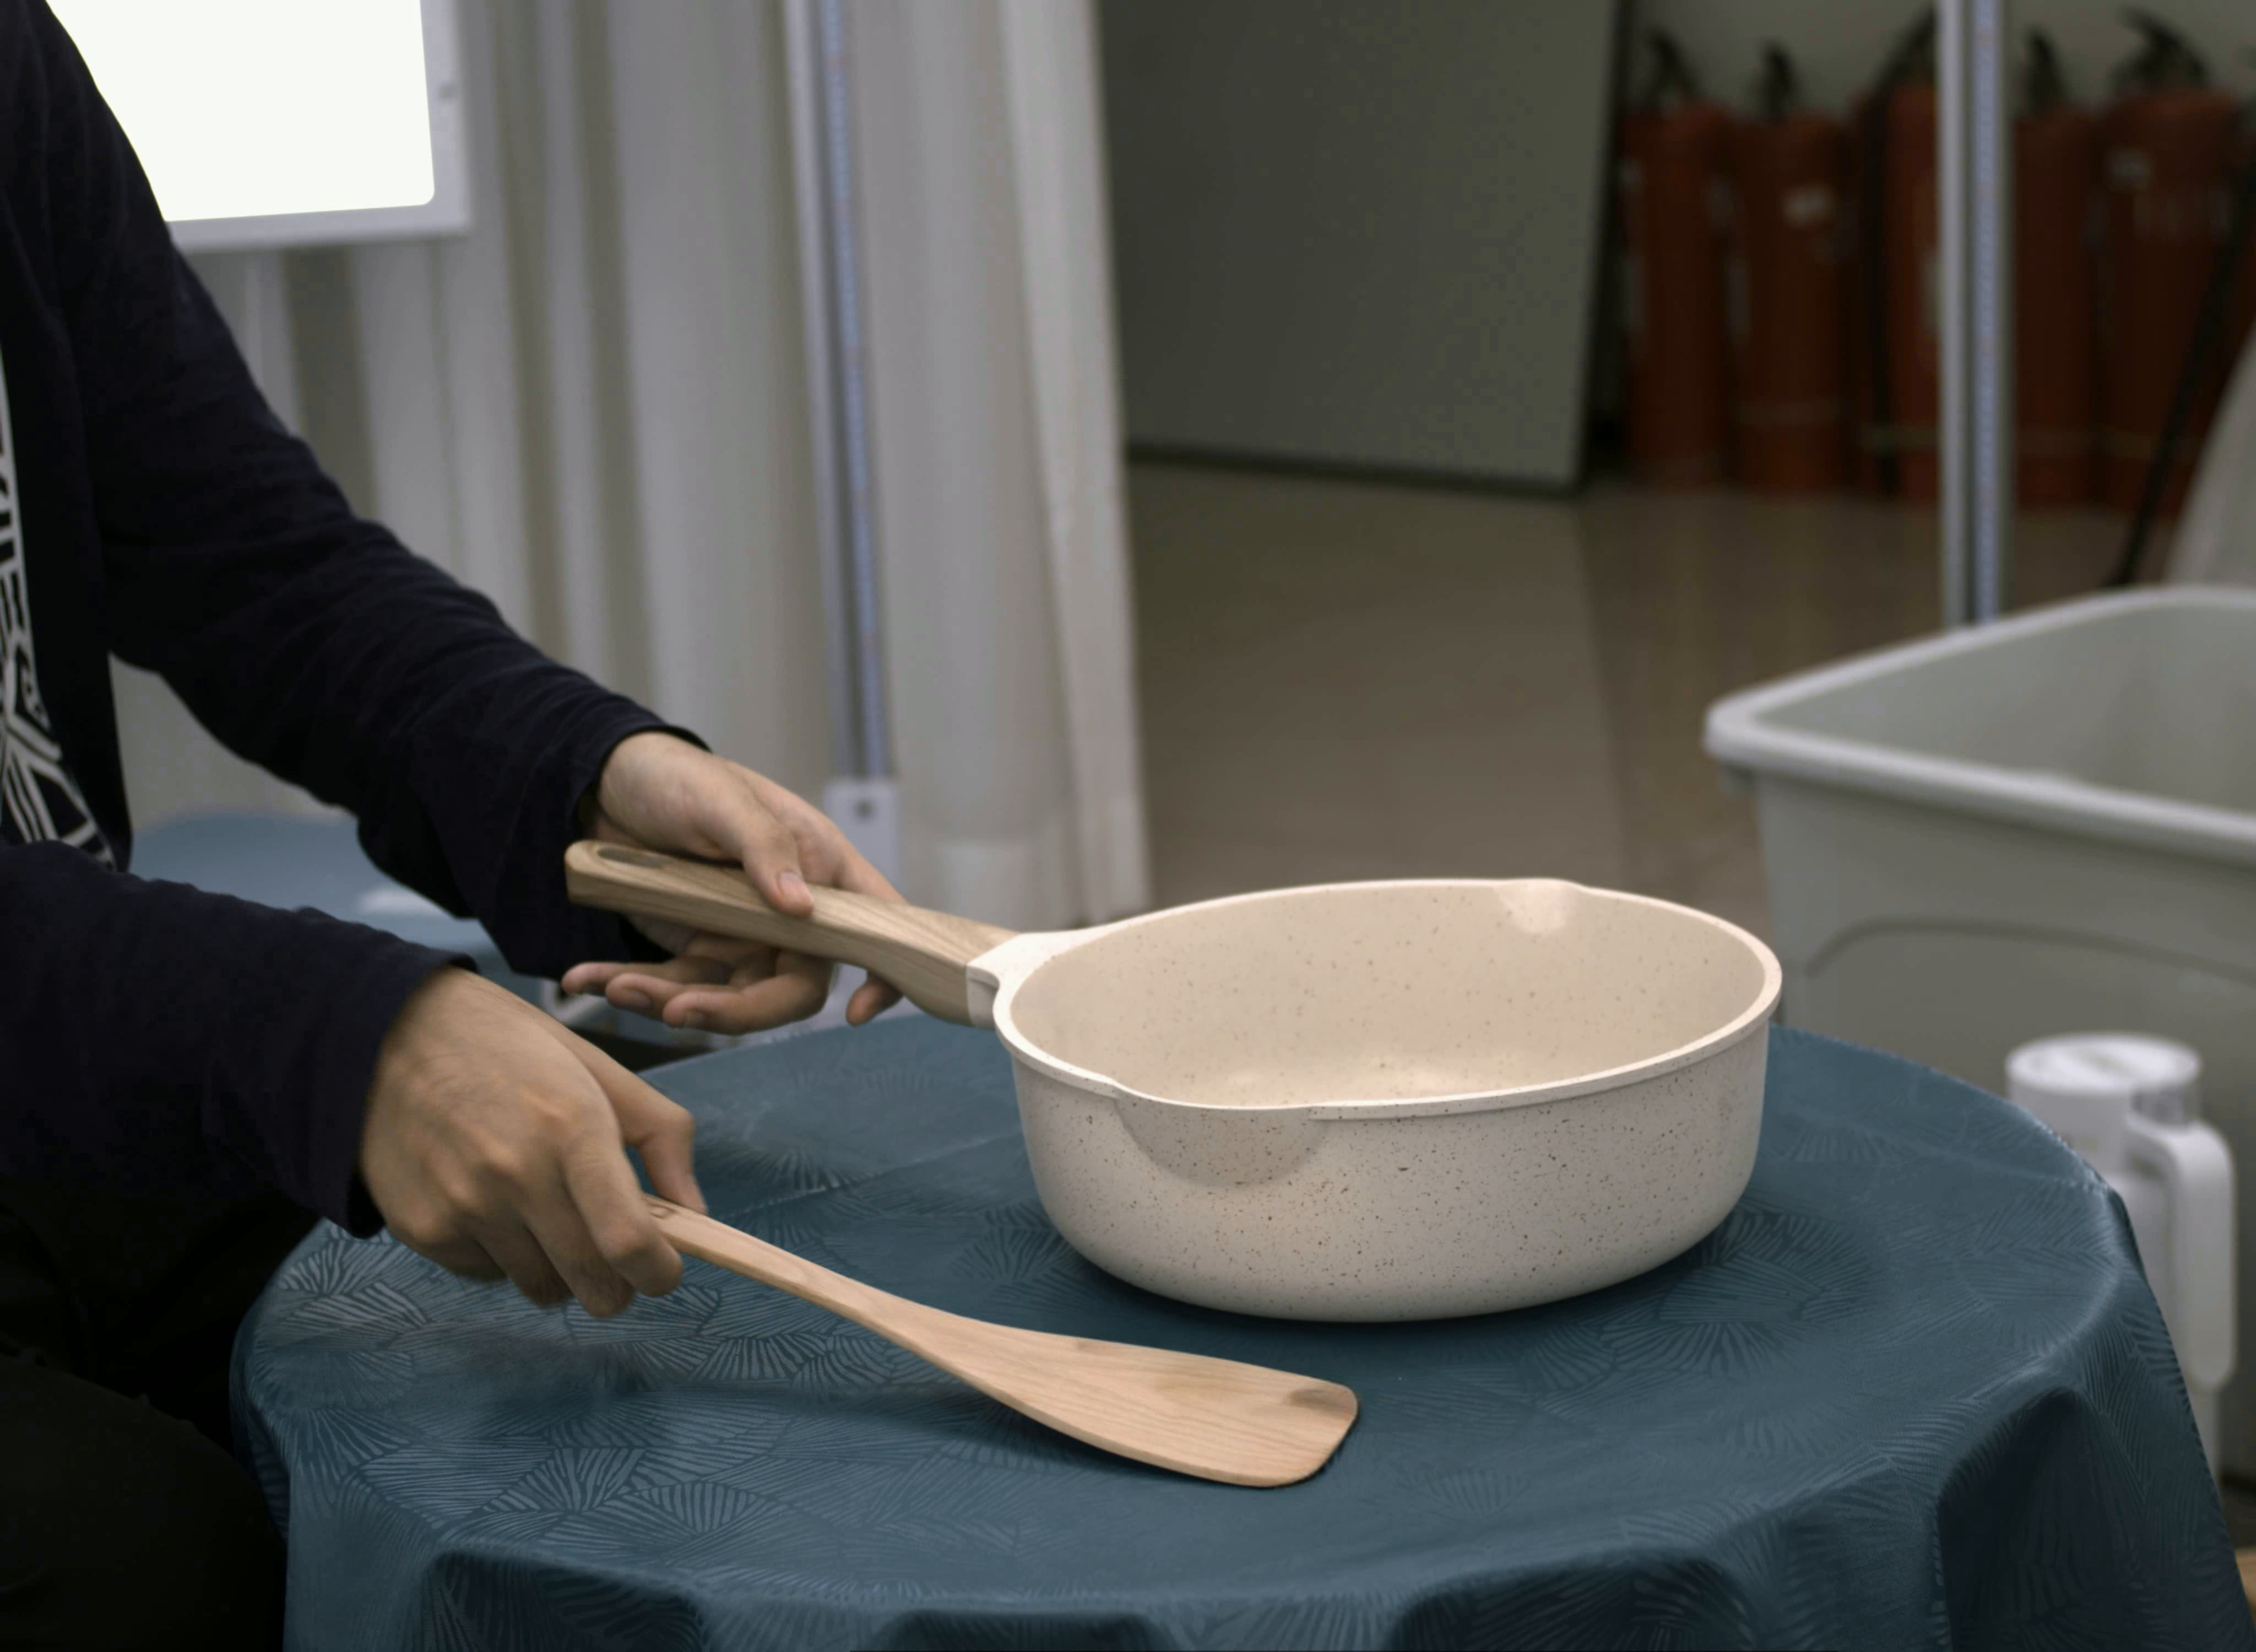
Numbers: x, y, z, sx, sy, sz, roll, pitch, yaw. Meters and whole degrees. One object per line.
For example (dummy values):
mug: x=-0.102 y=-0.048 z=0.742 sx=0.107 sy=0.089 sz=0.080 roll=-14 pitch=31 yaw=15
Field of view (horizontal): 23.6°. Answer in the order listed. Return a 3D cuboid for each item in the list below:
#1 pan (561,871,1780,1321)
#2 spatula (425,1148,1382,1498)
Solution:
pan: x=0.004 y=0.076 z=1.762 sx=0.436 sy=0.103 sz=0.260 roll=3 pitch=16 yaw=29
spatula: x=-0.072 y=0.142 z=1.605 sx=0.328 sy=0.017 sz=0.079 roll=17 pitch=21 yaw=26
